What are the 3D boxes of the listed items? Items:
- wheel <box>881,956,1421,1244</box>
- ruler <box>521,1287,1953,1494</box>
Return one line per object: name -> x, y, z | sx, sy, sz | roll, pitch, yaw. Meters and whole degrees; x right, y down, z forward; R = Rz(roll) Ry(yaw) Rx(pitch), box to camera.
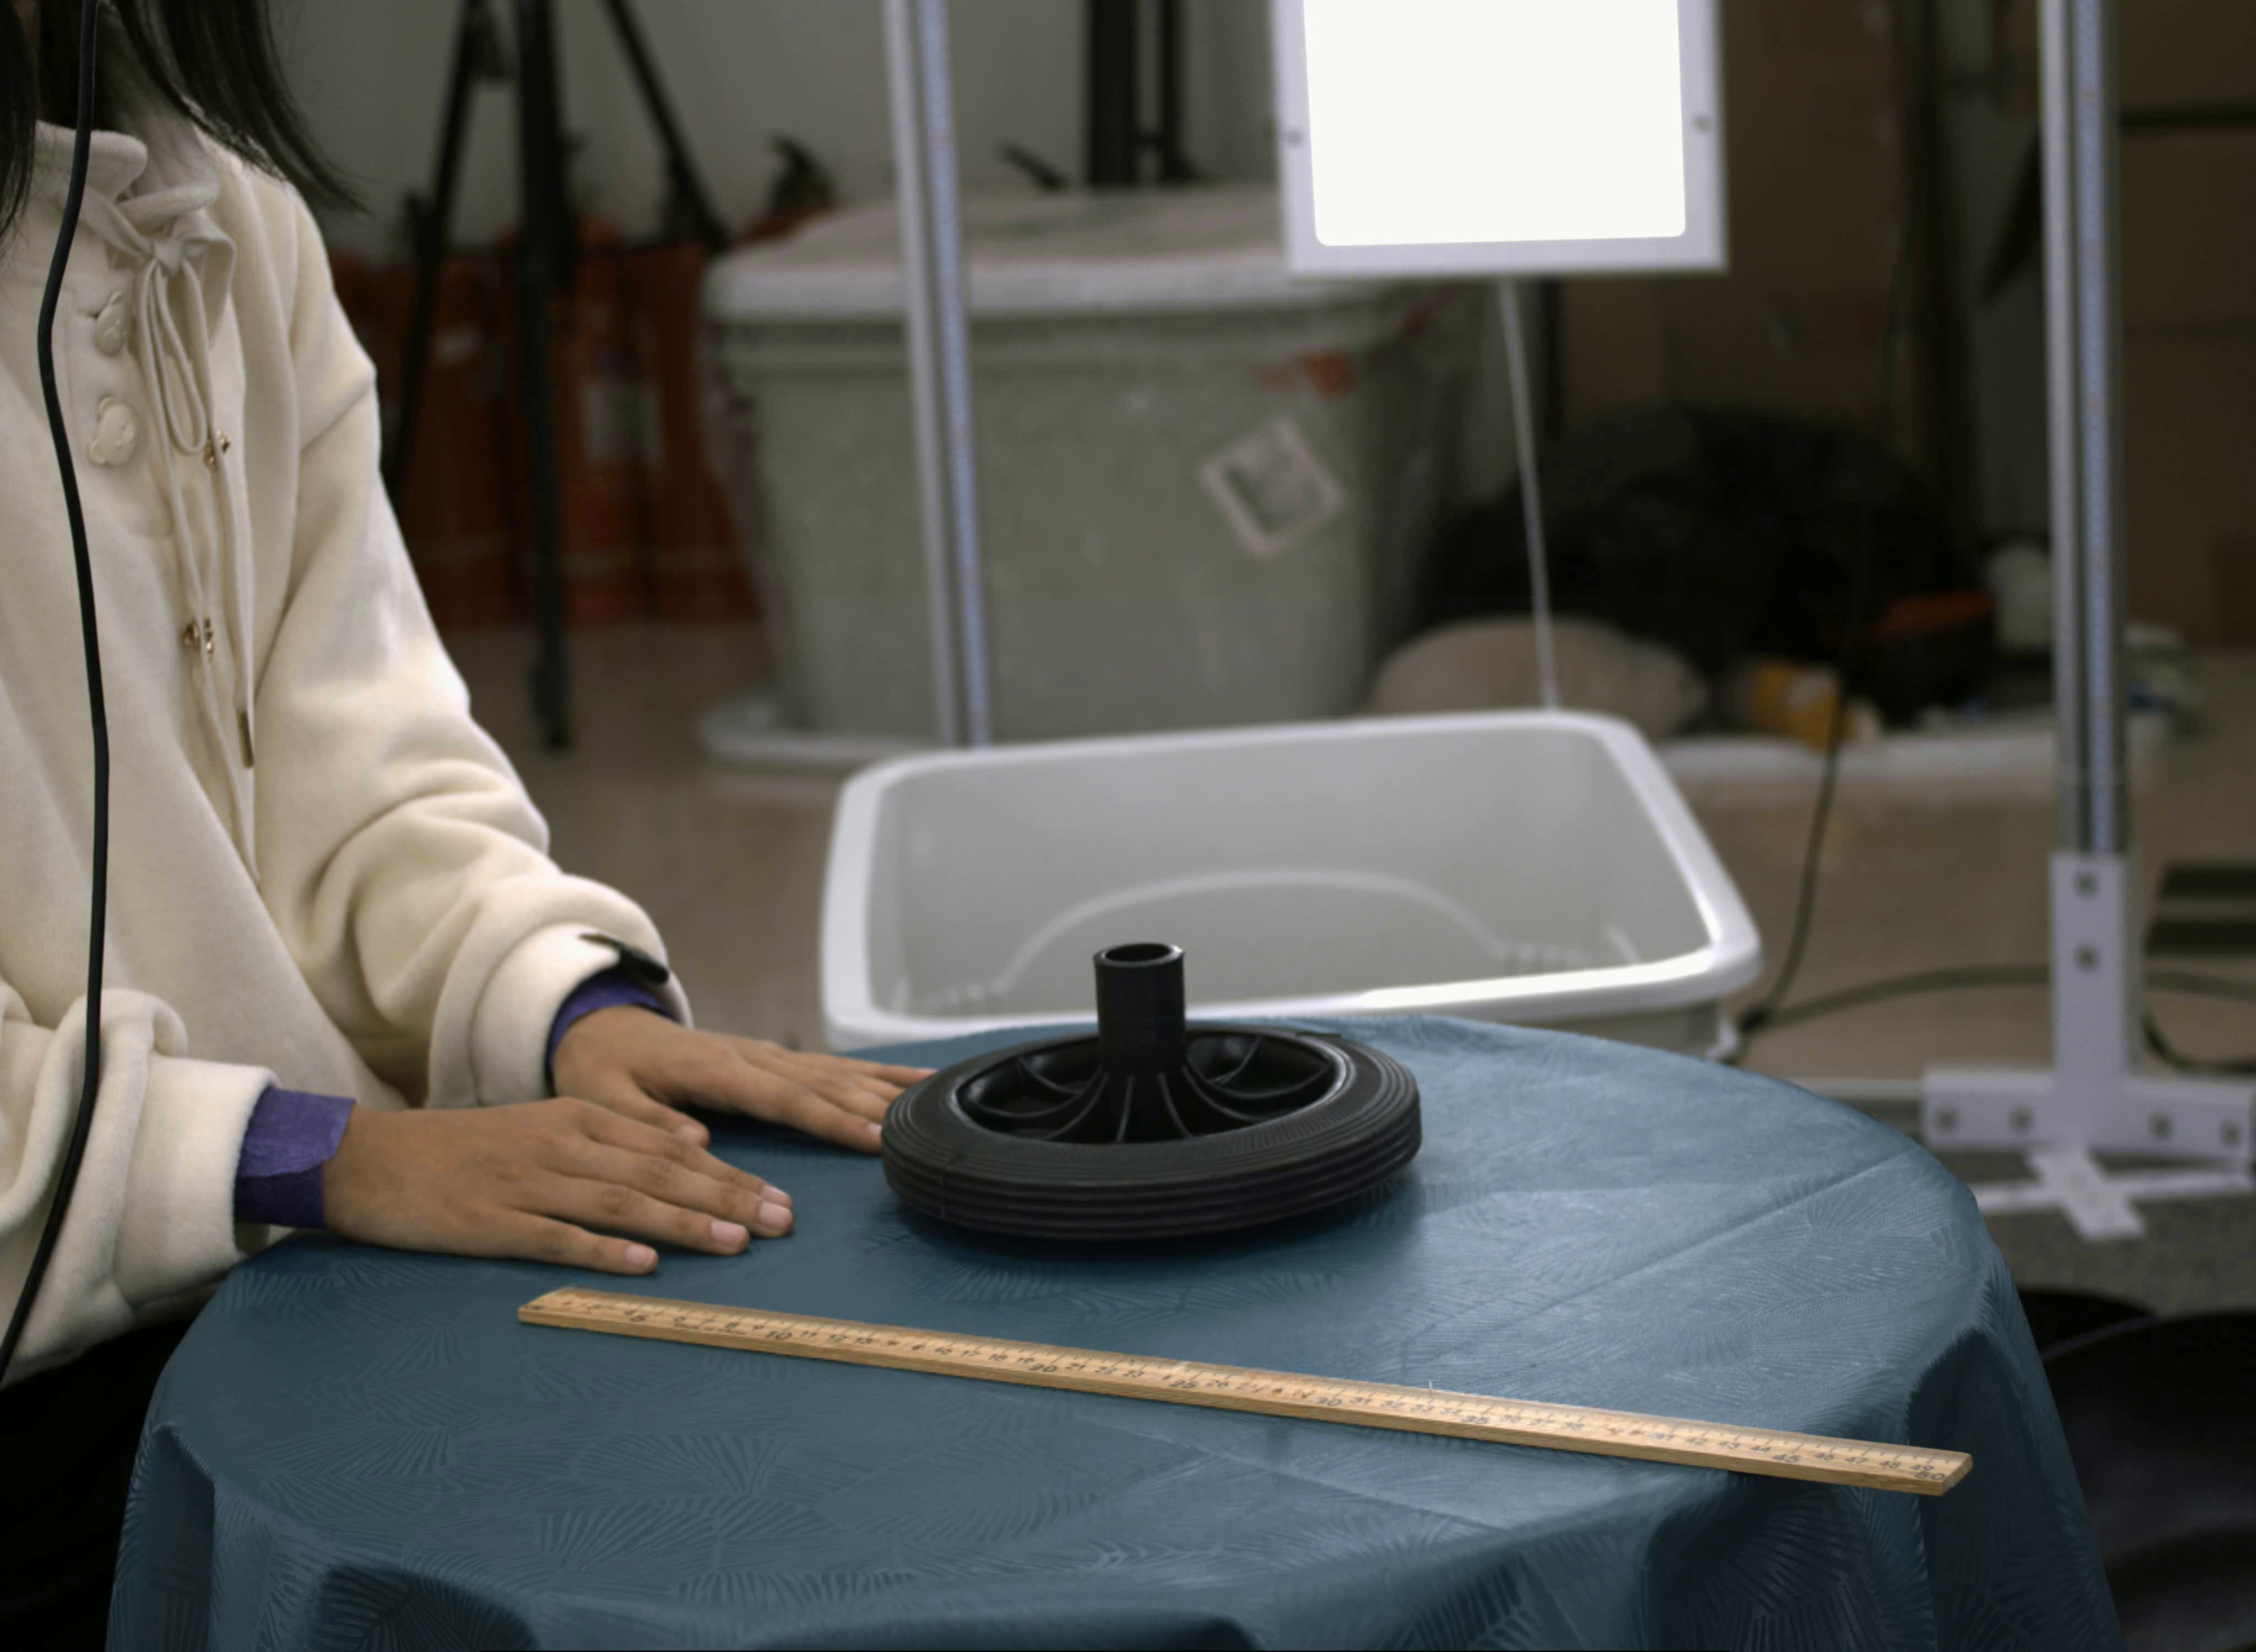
wheel -> 0.006, 0.087, 1.899 | 0.186, 0.079, 0.190 | -6, 13, -2
ruler -> 0.020, 0.172, 1.696 | 0.510, 0.006, 0.026 | 4, 18, 32
